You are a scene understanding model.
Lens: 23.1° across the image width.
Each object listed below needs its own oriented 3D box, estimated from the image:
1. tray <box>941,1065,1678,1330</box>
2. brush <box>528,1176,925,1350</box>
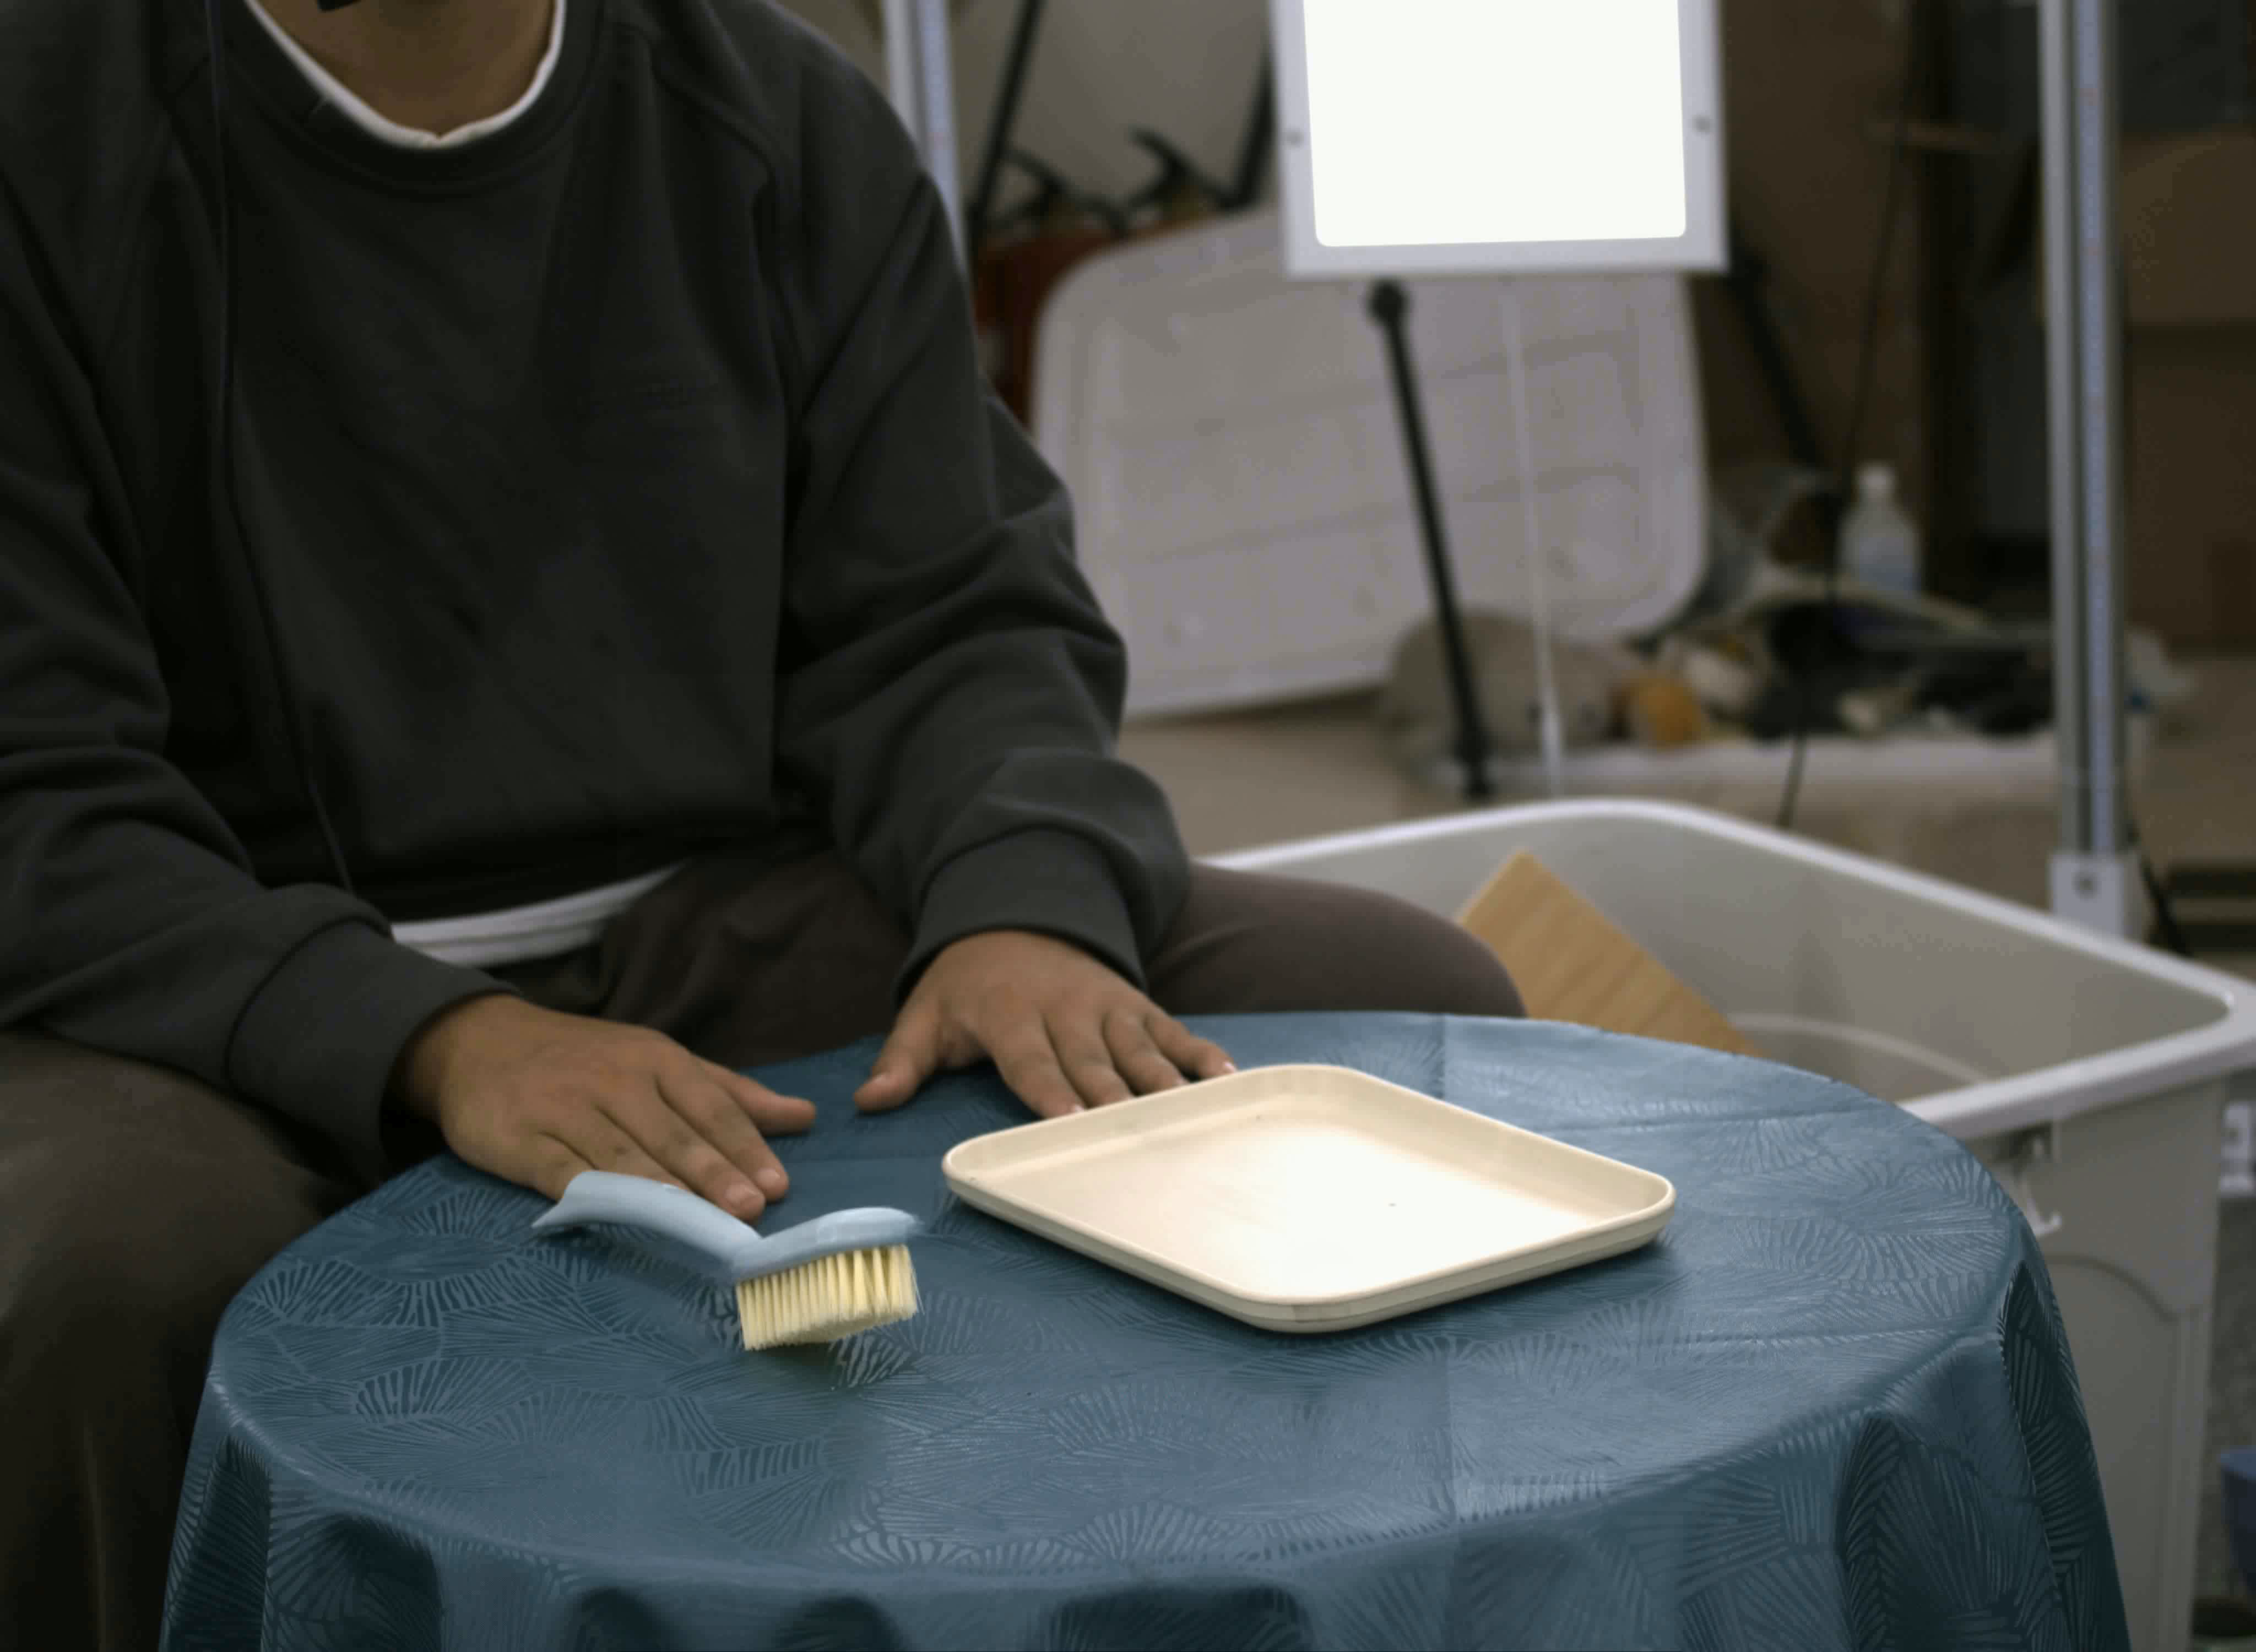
[{"bbox_3d":[0.059,0.124,1.850,0.167,0.017,0.244,-12,15,-29],"label":"tray"},{"bbox_3d":[-0.137,0.143,1.812,0.037,0.050,0.233,2,0,-34],"label":"brush"}]
